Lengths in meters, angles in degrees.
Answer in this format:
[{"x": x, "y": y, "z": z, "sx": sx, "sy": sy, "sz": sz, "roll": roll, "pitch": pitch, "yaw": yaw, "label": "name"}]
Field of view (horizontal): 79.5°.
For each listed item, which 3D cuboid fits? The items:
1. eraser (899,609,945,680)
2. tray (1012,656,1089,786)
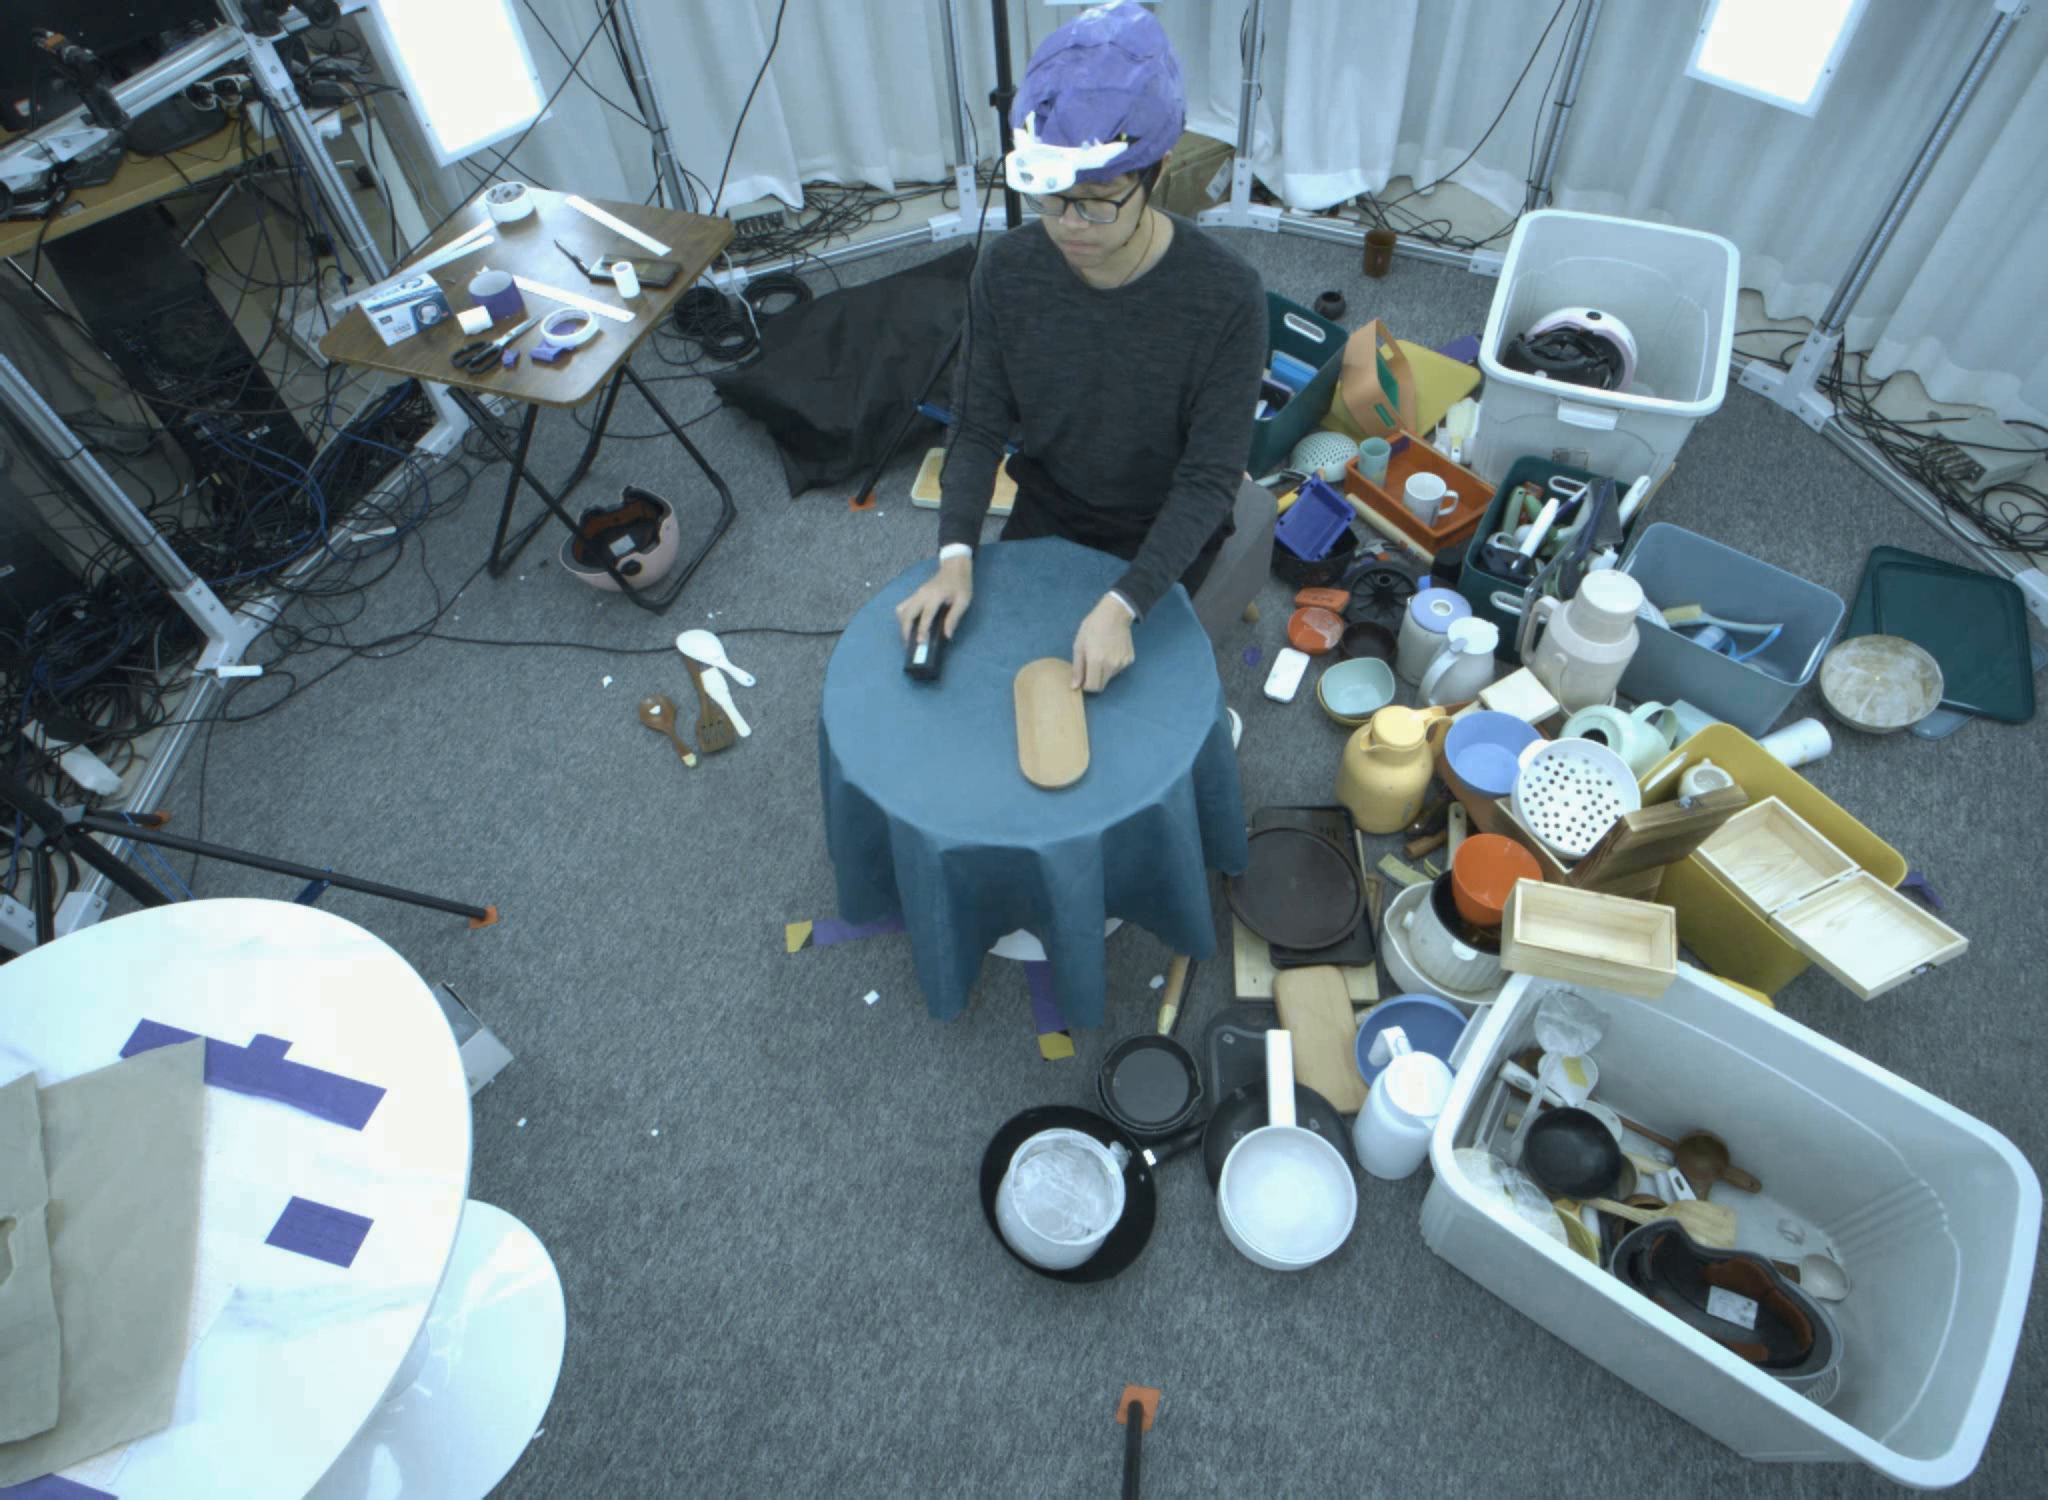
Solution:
[{"x": -0.155, "y": -0.161, "z": 1.877, "sx": 0.053, "sy": 0.031, "sz": 0.124, "roll": -1, "pitch": 54, "yaw": 10, "label": "eraser"}, {"x": 0.038, "y": -0.045, "z": 1.804, "sx": 0.102, "sy": 0.020, "sz": 0.228, "roll": -6, "pitch": 55, "yaw": 0, "label": "tray"}]
